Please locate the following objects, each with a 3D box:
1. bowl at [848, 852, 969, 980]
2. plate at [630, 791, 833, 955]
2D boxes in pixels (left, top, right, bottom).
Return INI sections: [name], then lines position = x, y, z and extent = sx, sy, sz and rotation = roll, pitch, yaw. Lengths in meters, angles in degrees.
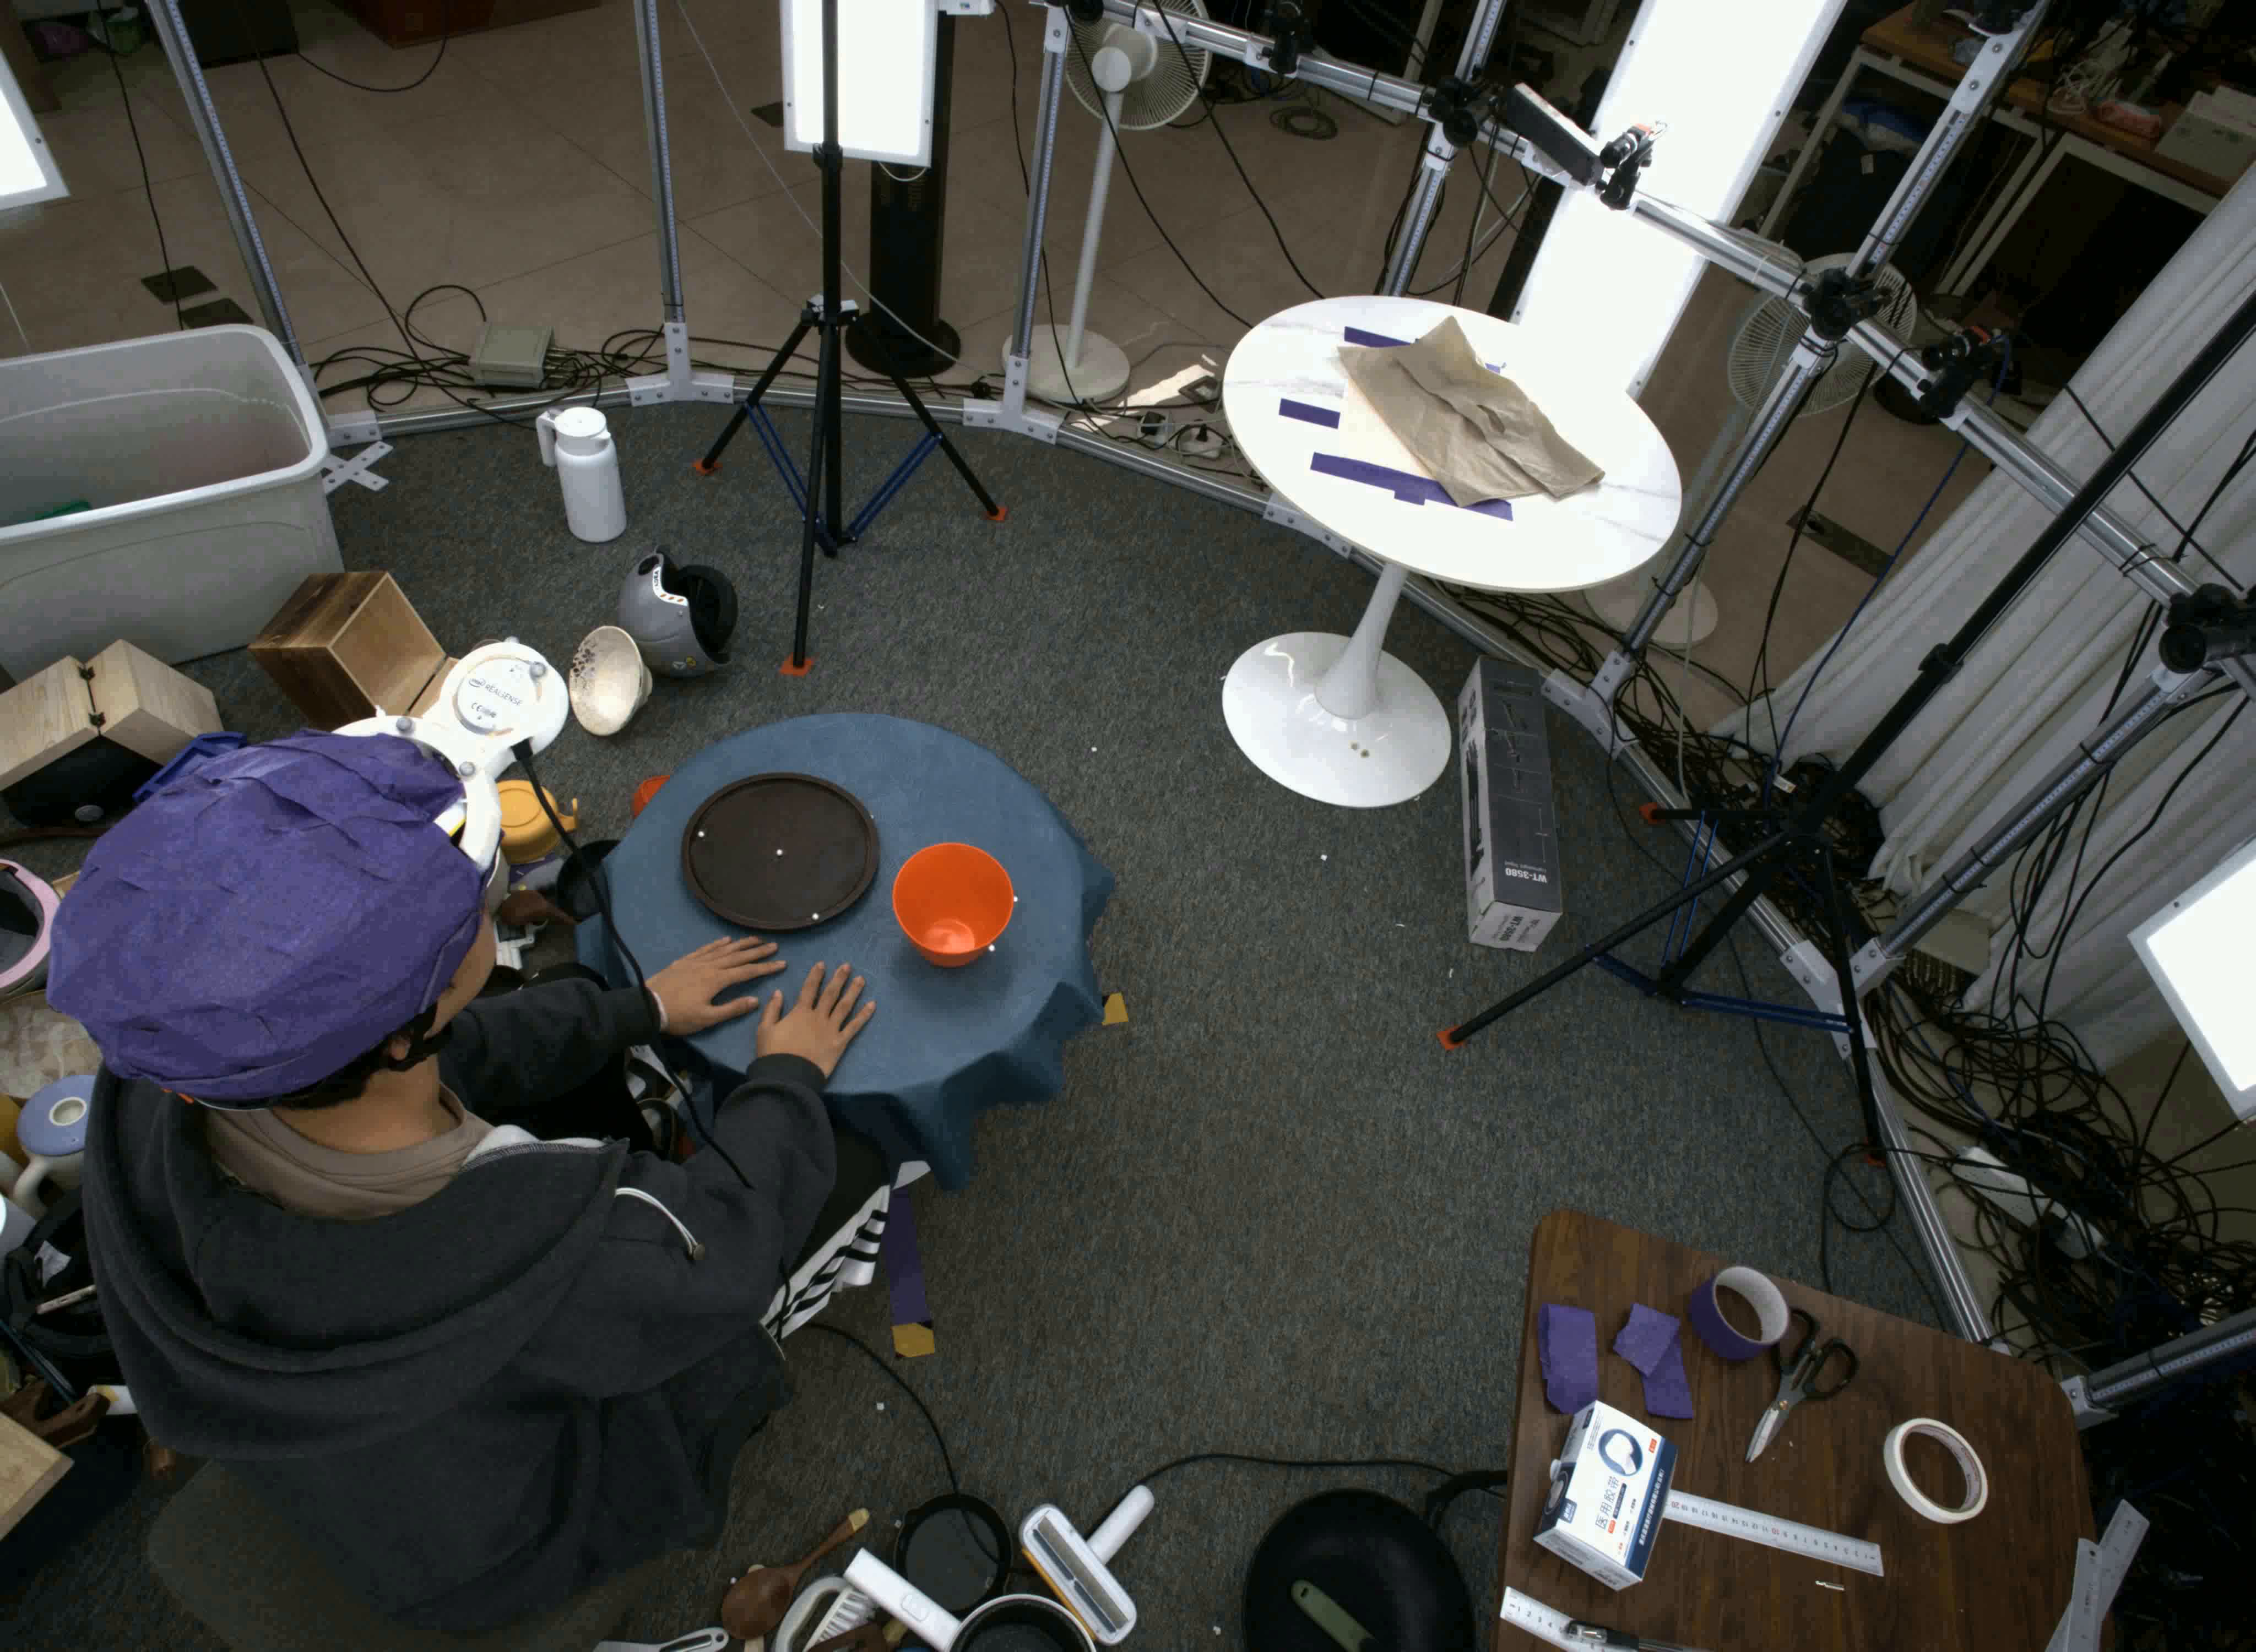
[bowl]
position = -0.273, 0.122, 1.610
extent = 0.148, 0.107, 0.145
rotation = 8, 51, -9
[plate]
position = -0.506, 0.056, 1.651
extent = 0.254, 0.029, 0.250
rotation = 9, 53, -10
